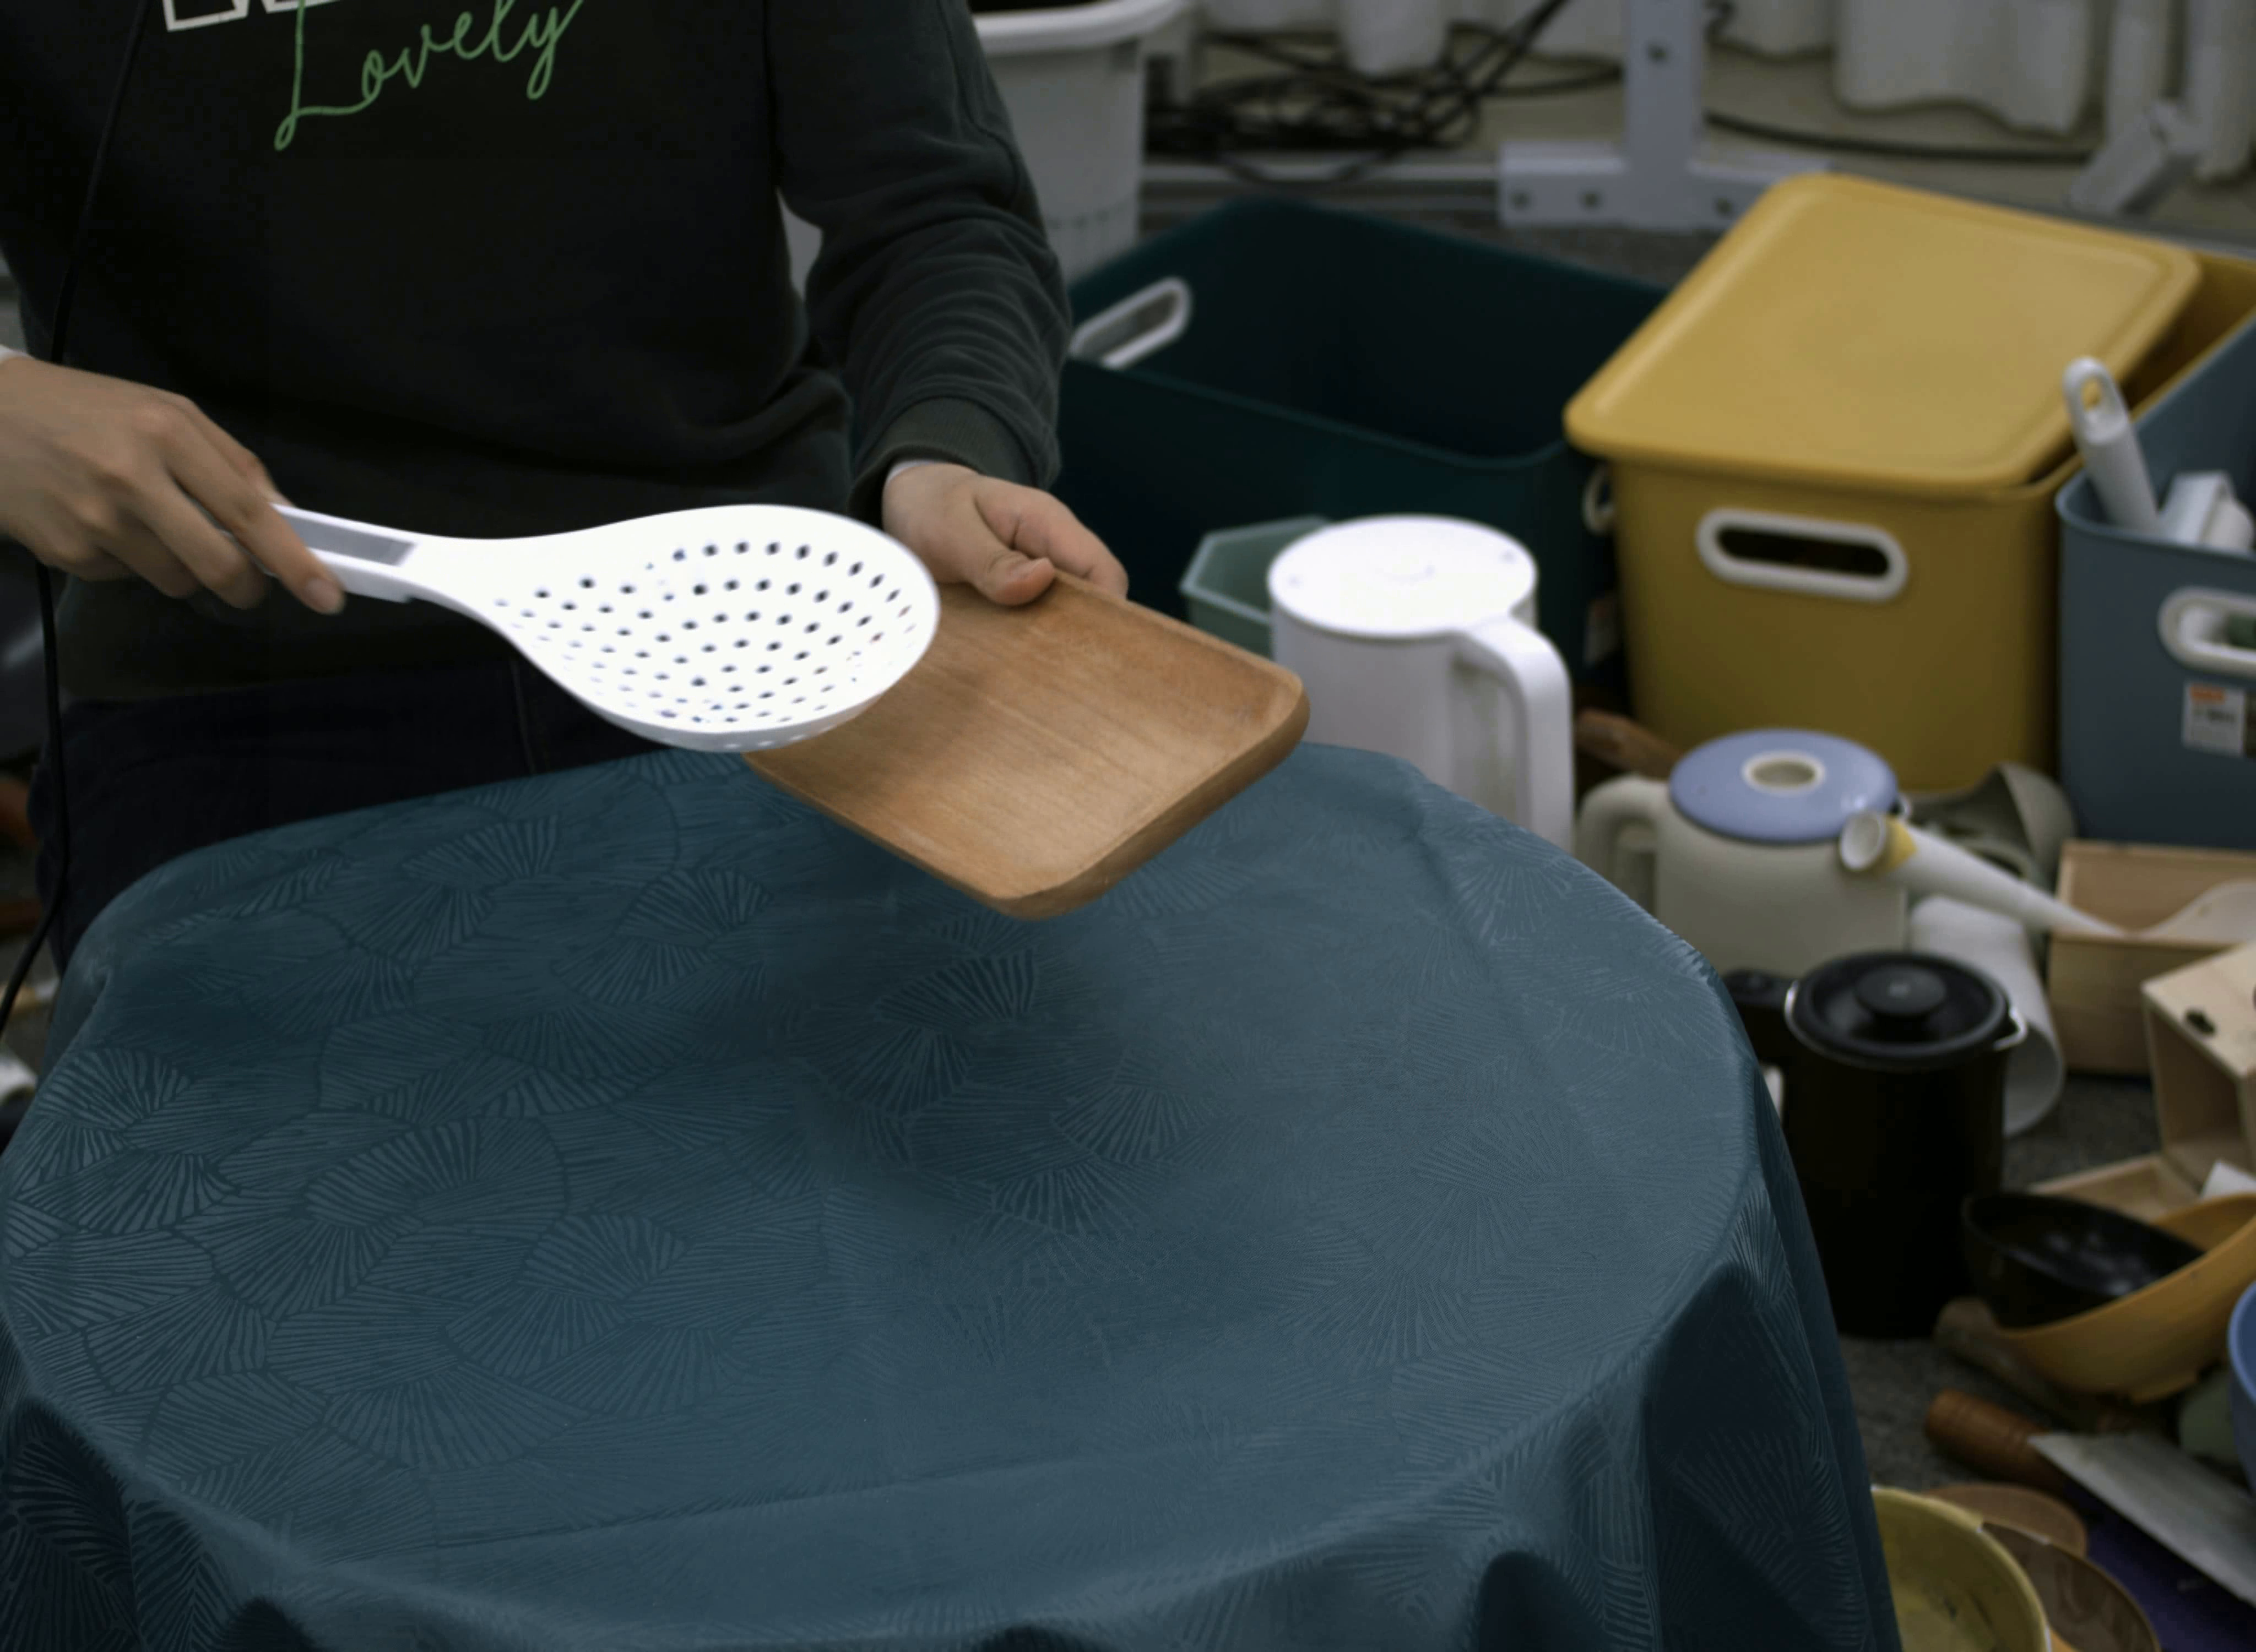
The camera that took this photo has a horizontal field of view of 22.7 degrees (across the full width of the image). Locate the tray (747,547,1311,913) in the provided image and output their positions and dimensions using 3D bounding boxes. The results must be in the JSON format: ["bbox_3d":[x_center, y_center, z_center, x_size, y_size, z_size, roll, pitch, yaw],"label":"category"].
[{"bbox_3d":[-0.036,-0.034,1.894,0.131,0.023,0.250,-35,25,-15],"label":"tray"}]

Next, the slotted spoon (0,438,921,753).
[{"bbox_3d":[-0.239,-0.088,1.945,0.348,0.045,0.138,17,36,13],"label":"slotted spoon"}]
